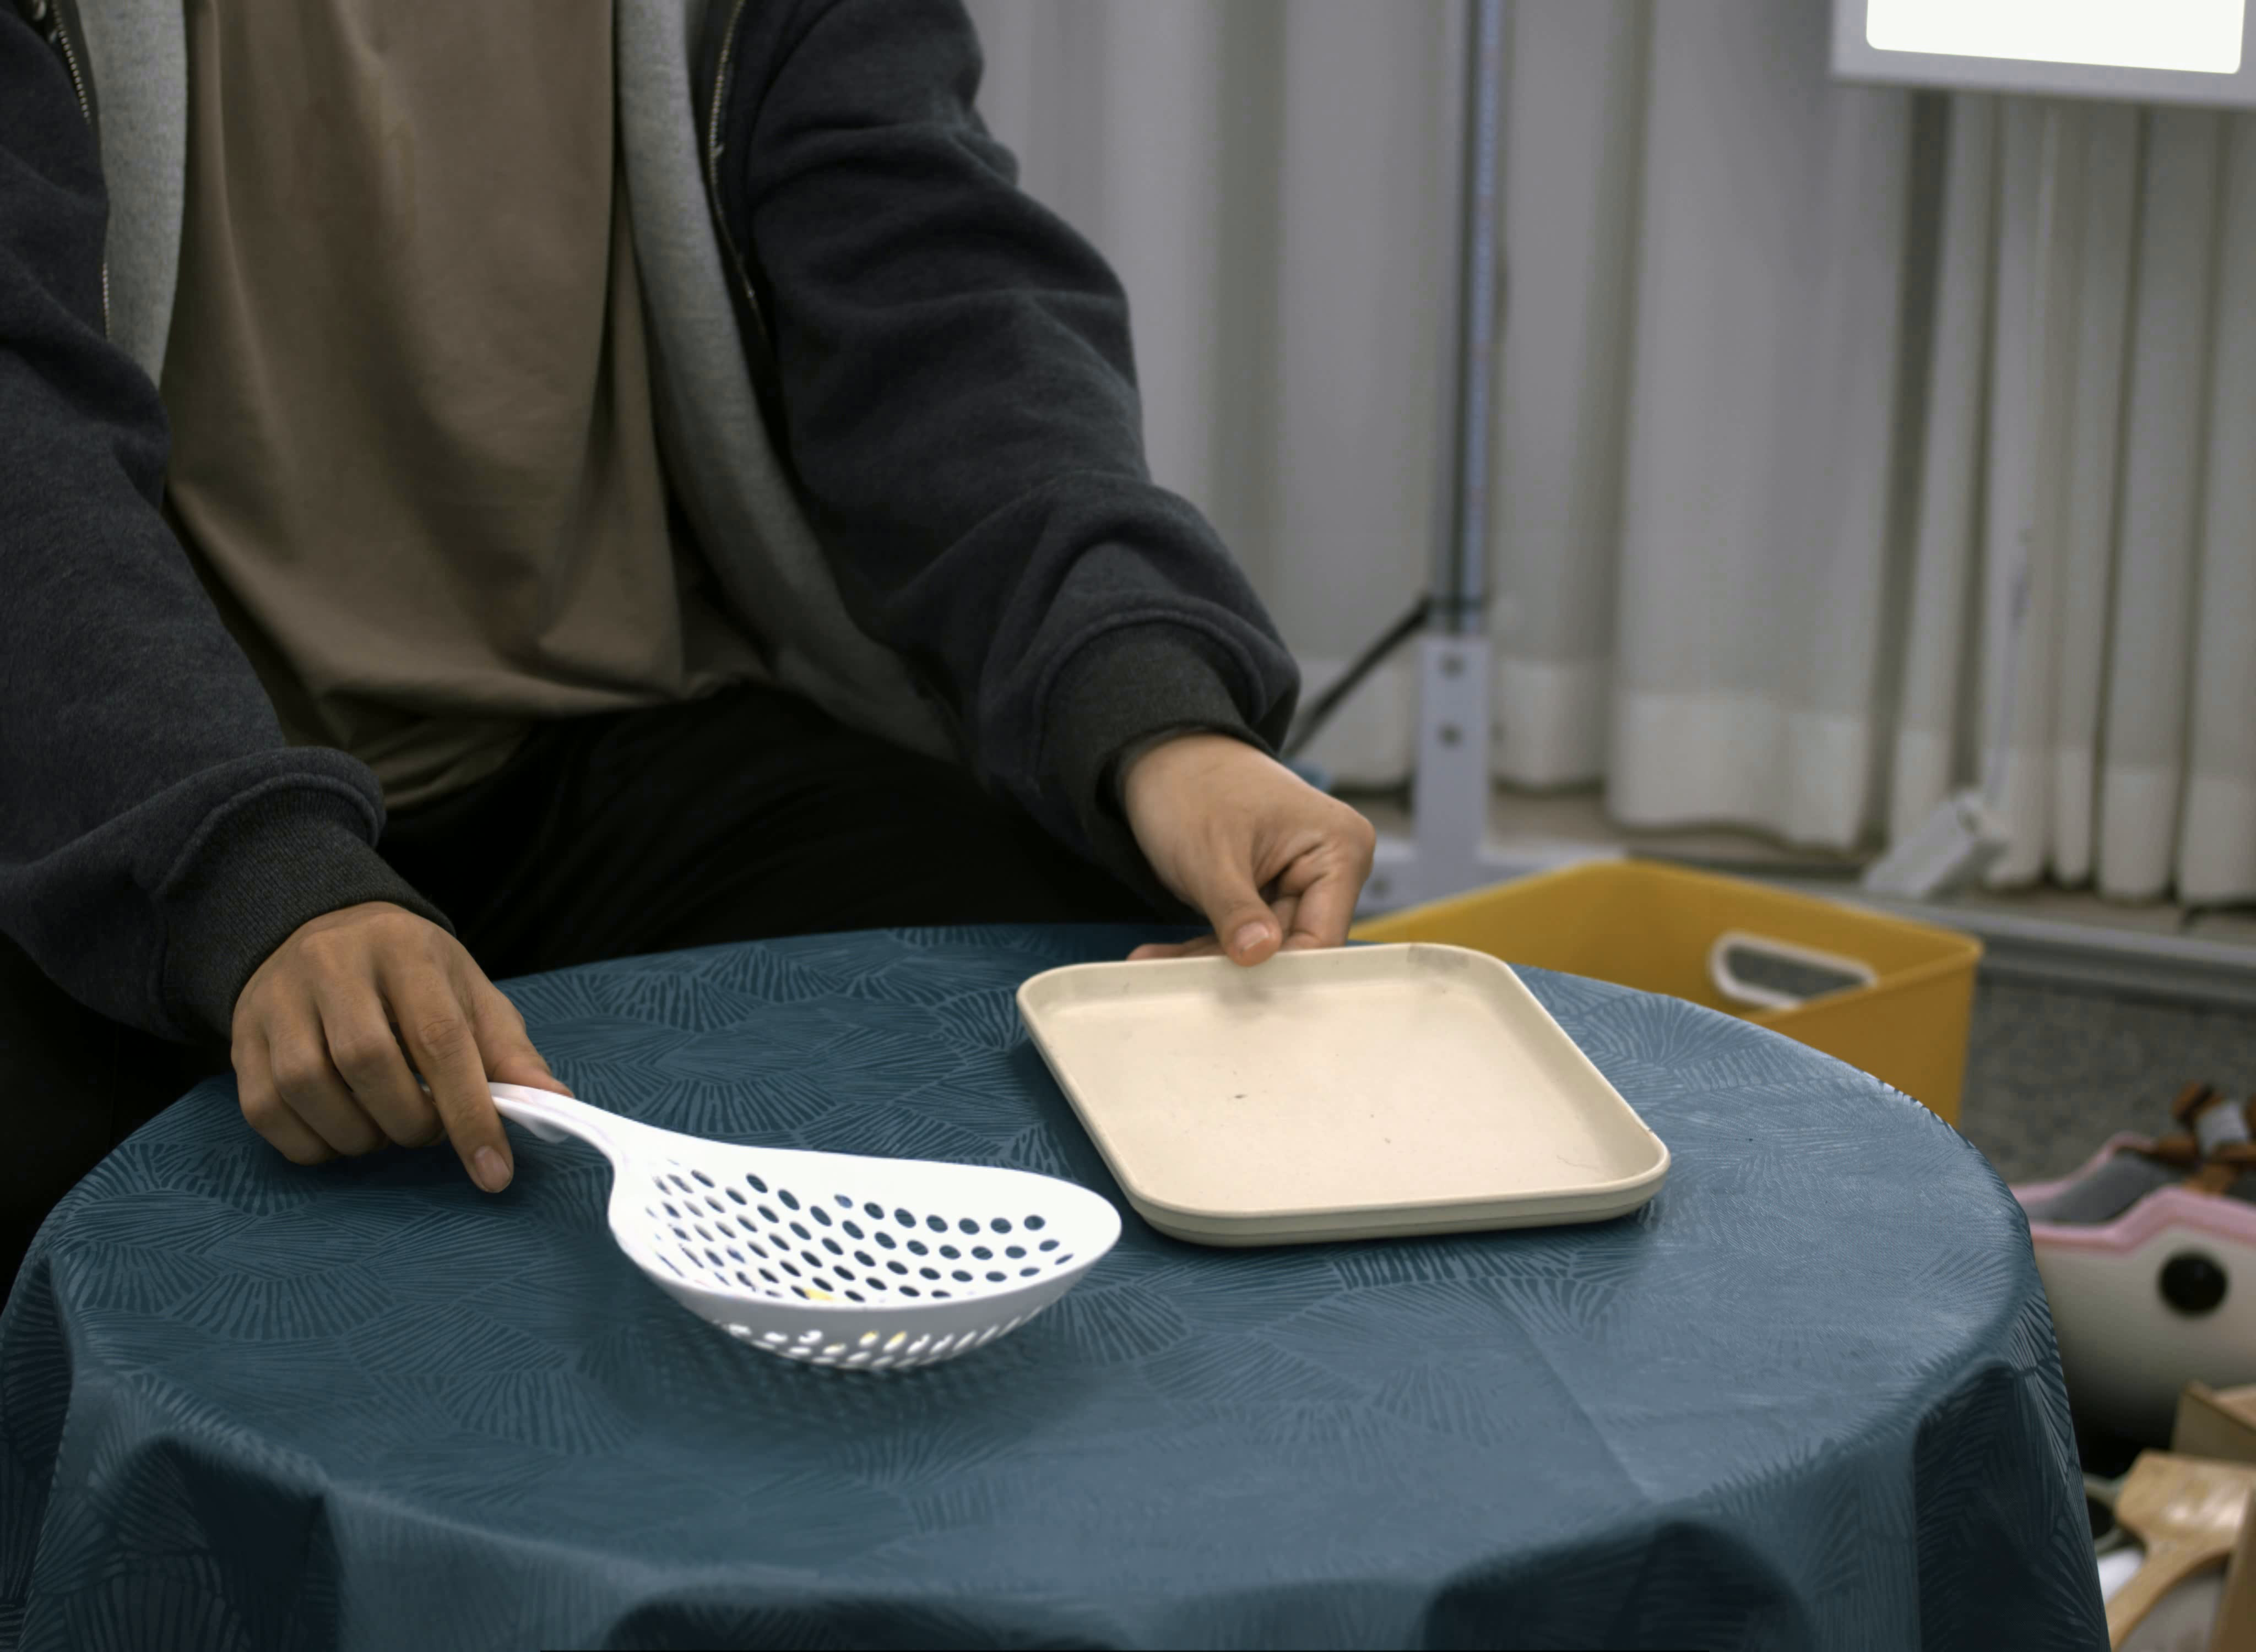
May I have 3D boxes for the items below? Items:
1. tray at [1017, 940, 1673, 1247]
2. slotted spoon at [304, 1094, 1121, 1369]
[{"bbox_3d":[0.065,0.084,1.683,0.171,0.017,0.237,-4,18,-12],"label":"tray"},{"bbox_3d":[-0.142,0.106,1.560,0.137,0.051,0.343,-15,22,-38],"label":"slotted spoon"}]
